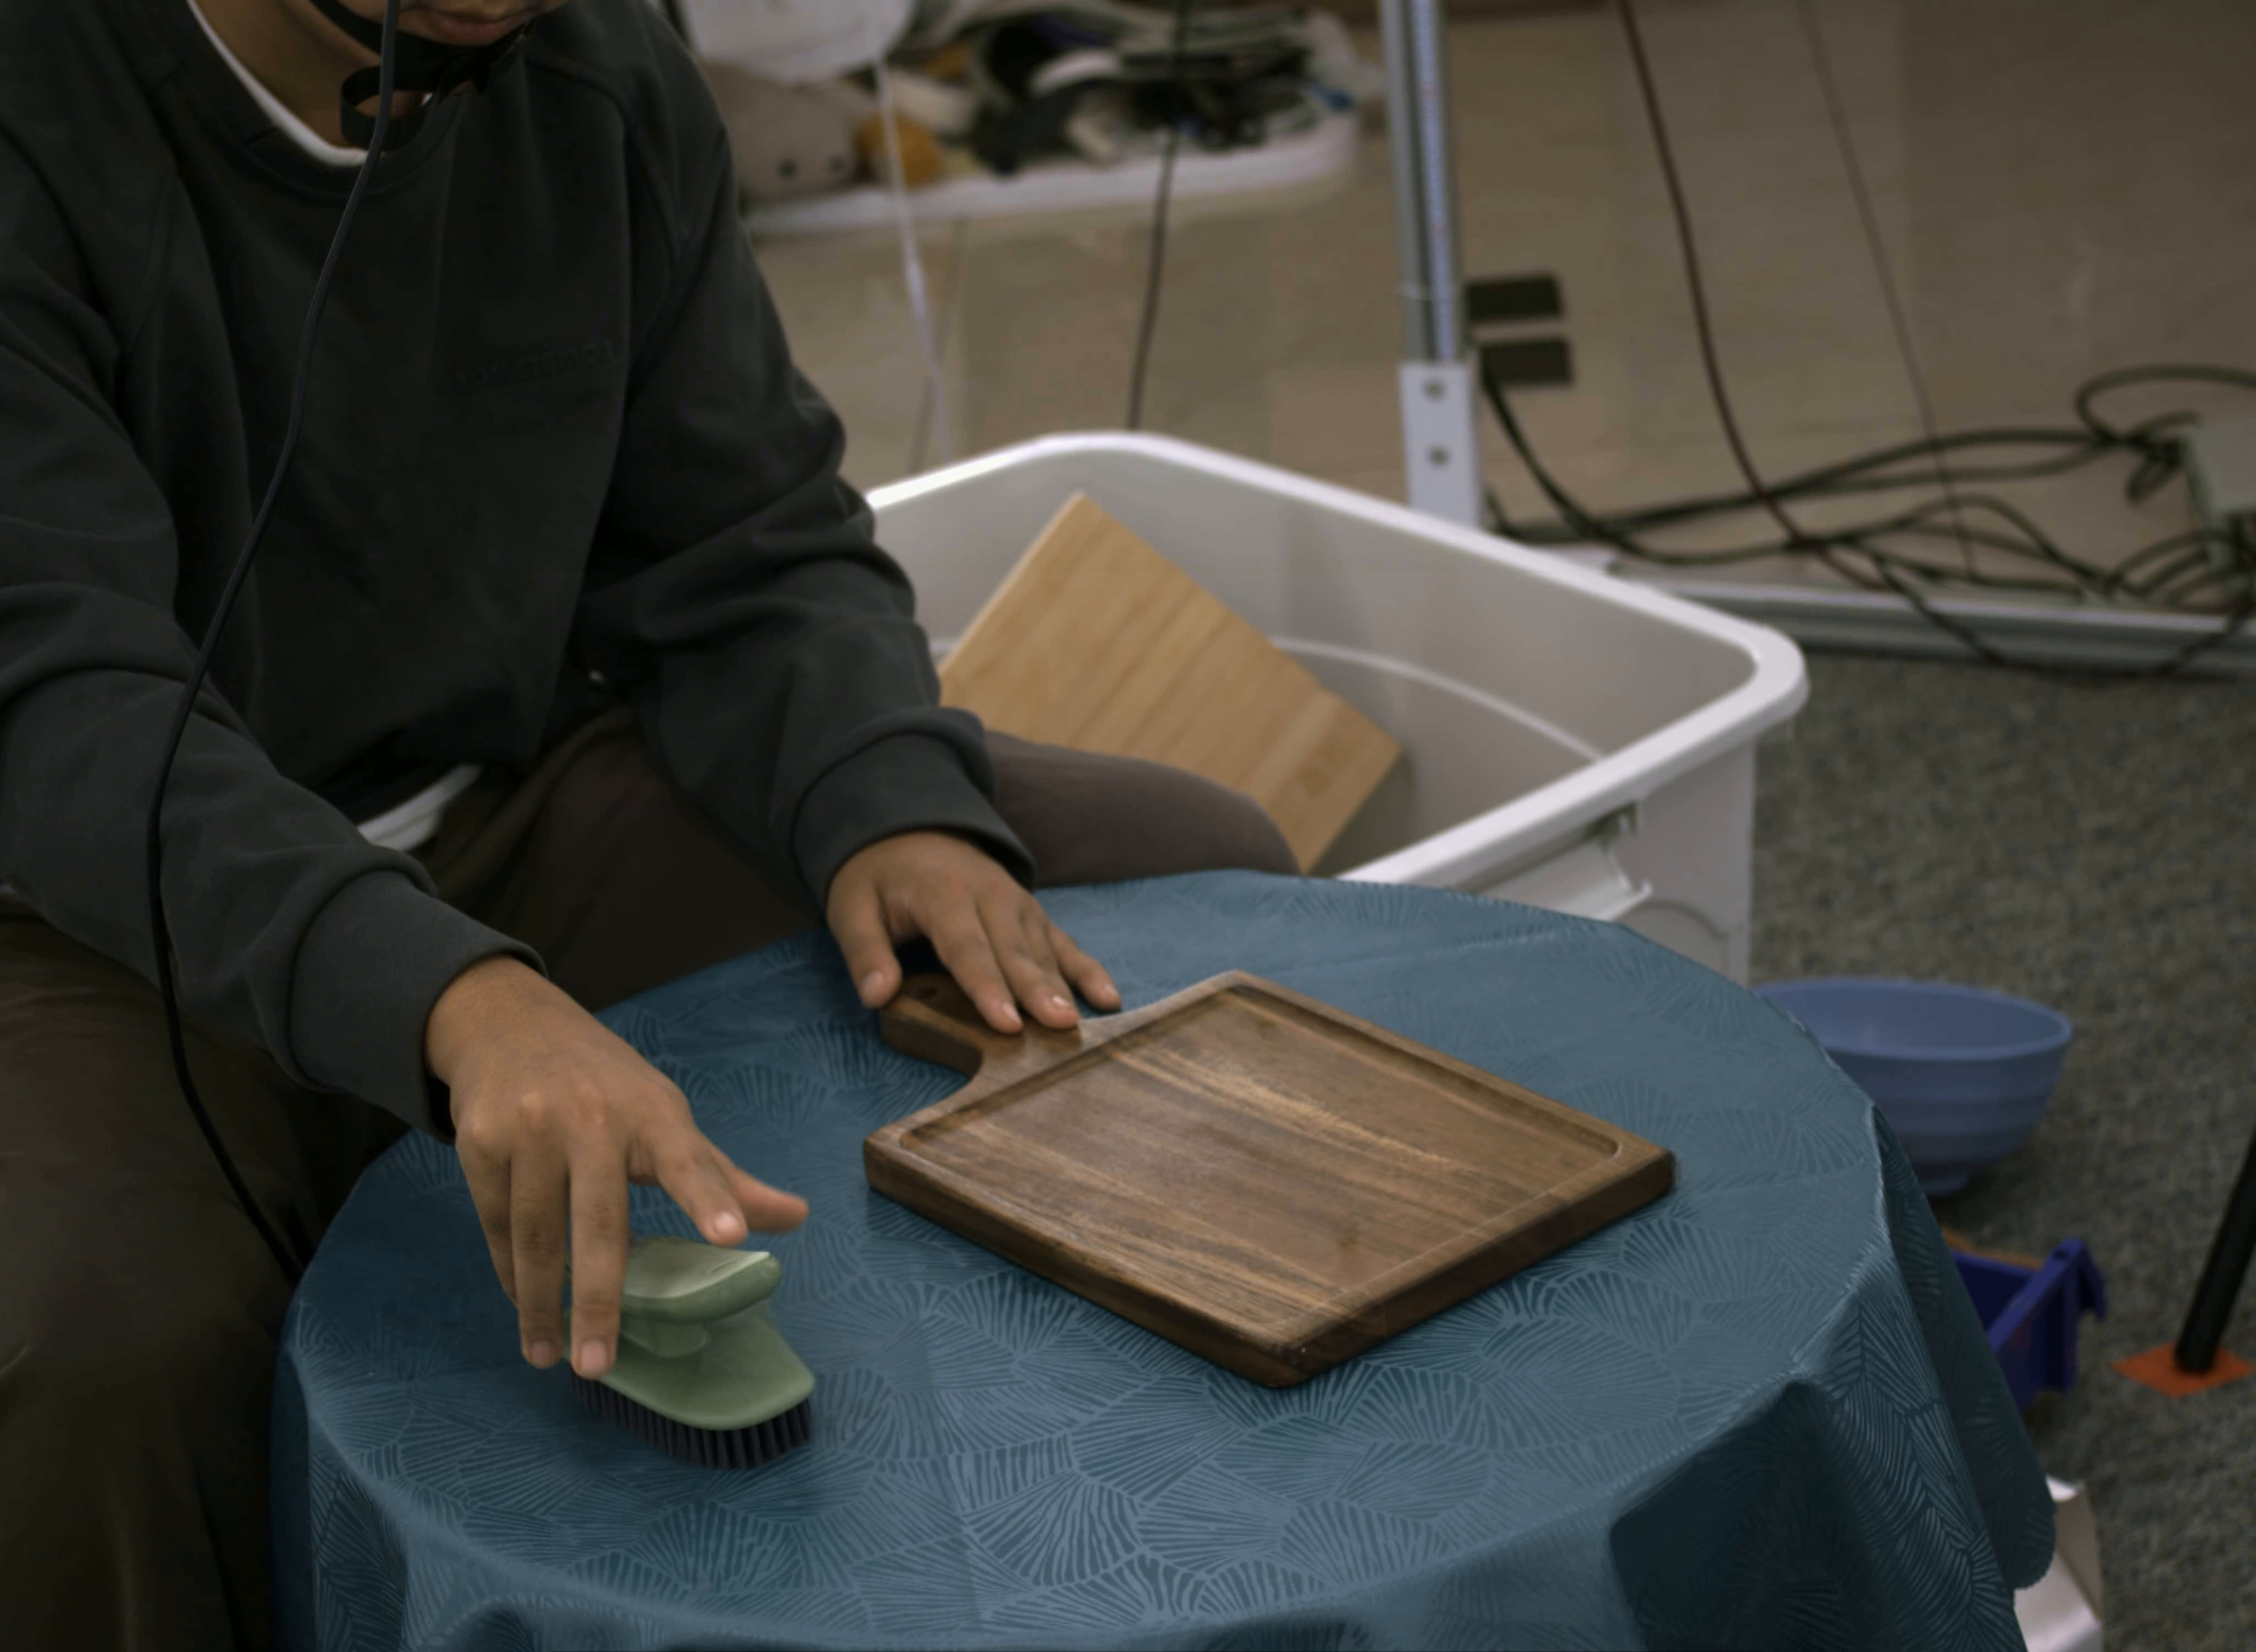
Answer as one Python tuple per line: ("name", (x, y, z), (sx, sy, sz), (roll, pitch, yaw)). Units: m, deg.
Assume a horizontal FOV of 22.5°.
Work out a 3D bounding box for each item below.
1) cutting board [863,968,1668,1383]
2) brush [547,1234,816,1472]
("cutting board", (0.019, 0.114, 2.173), (0.199, 0.023, 0.349), (-23, 29, -33))
("brush", (-0.159, 0.185, 2.024), (0.059, 0.076, 0.122), (-26, 17, -35))
